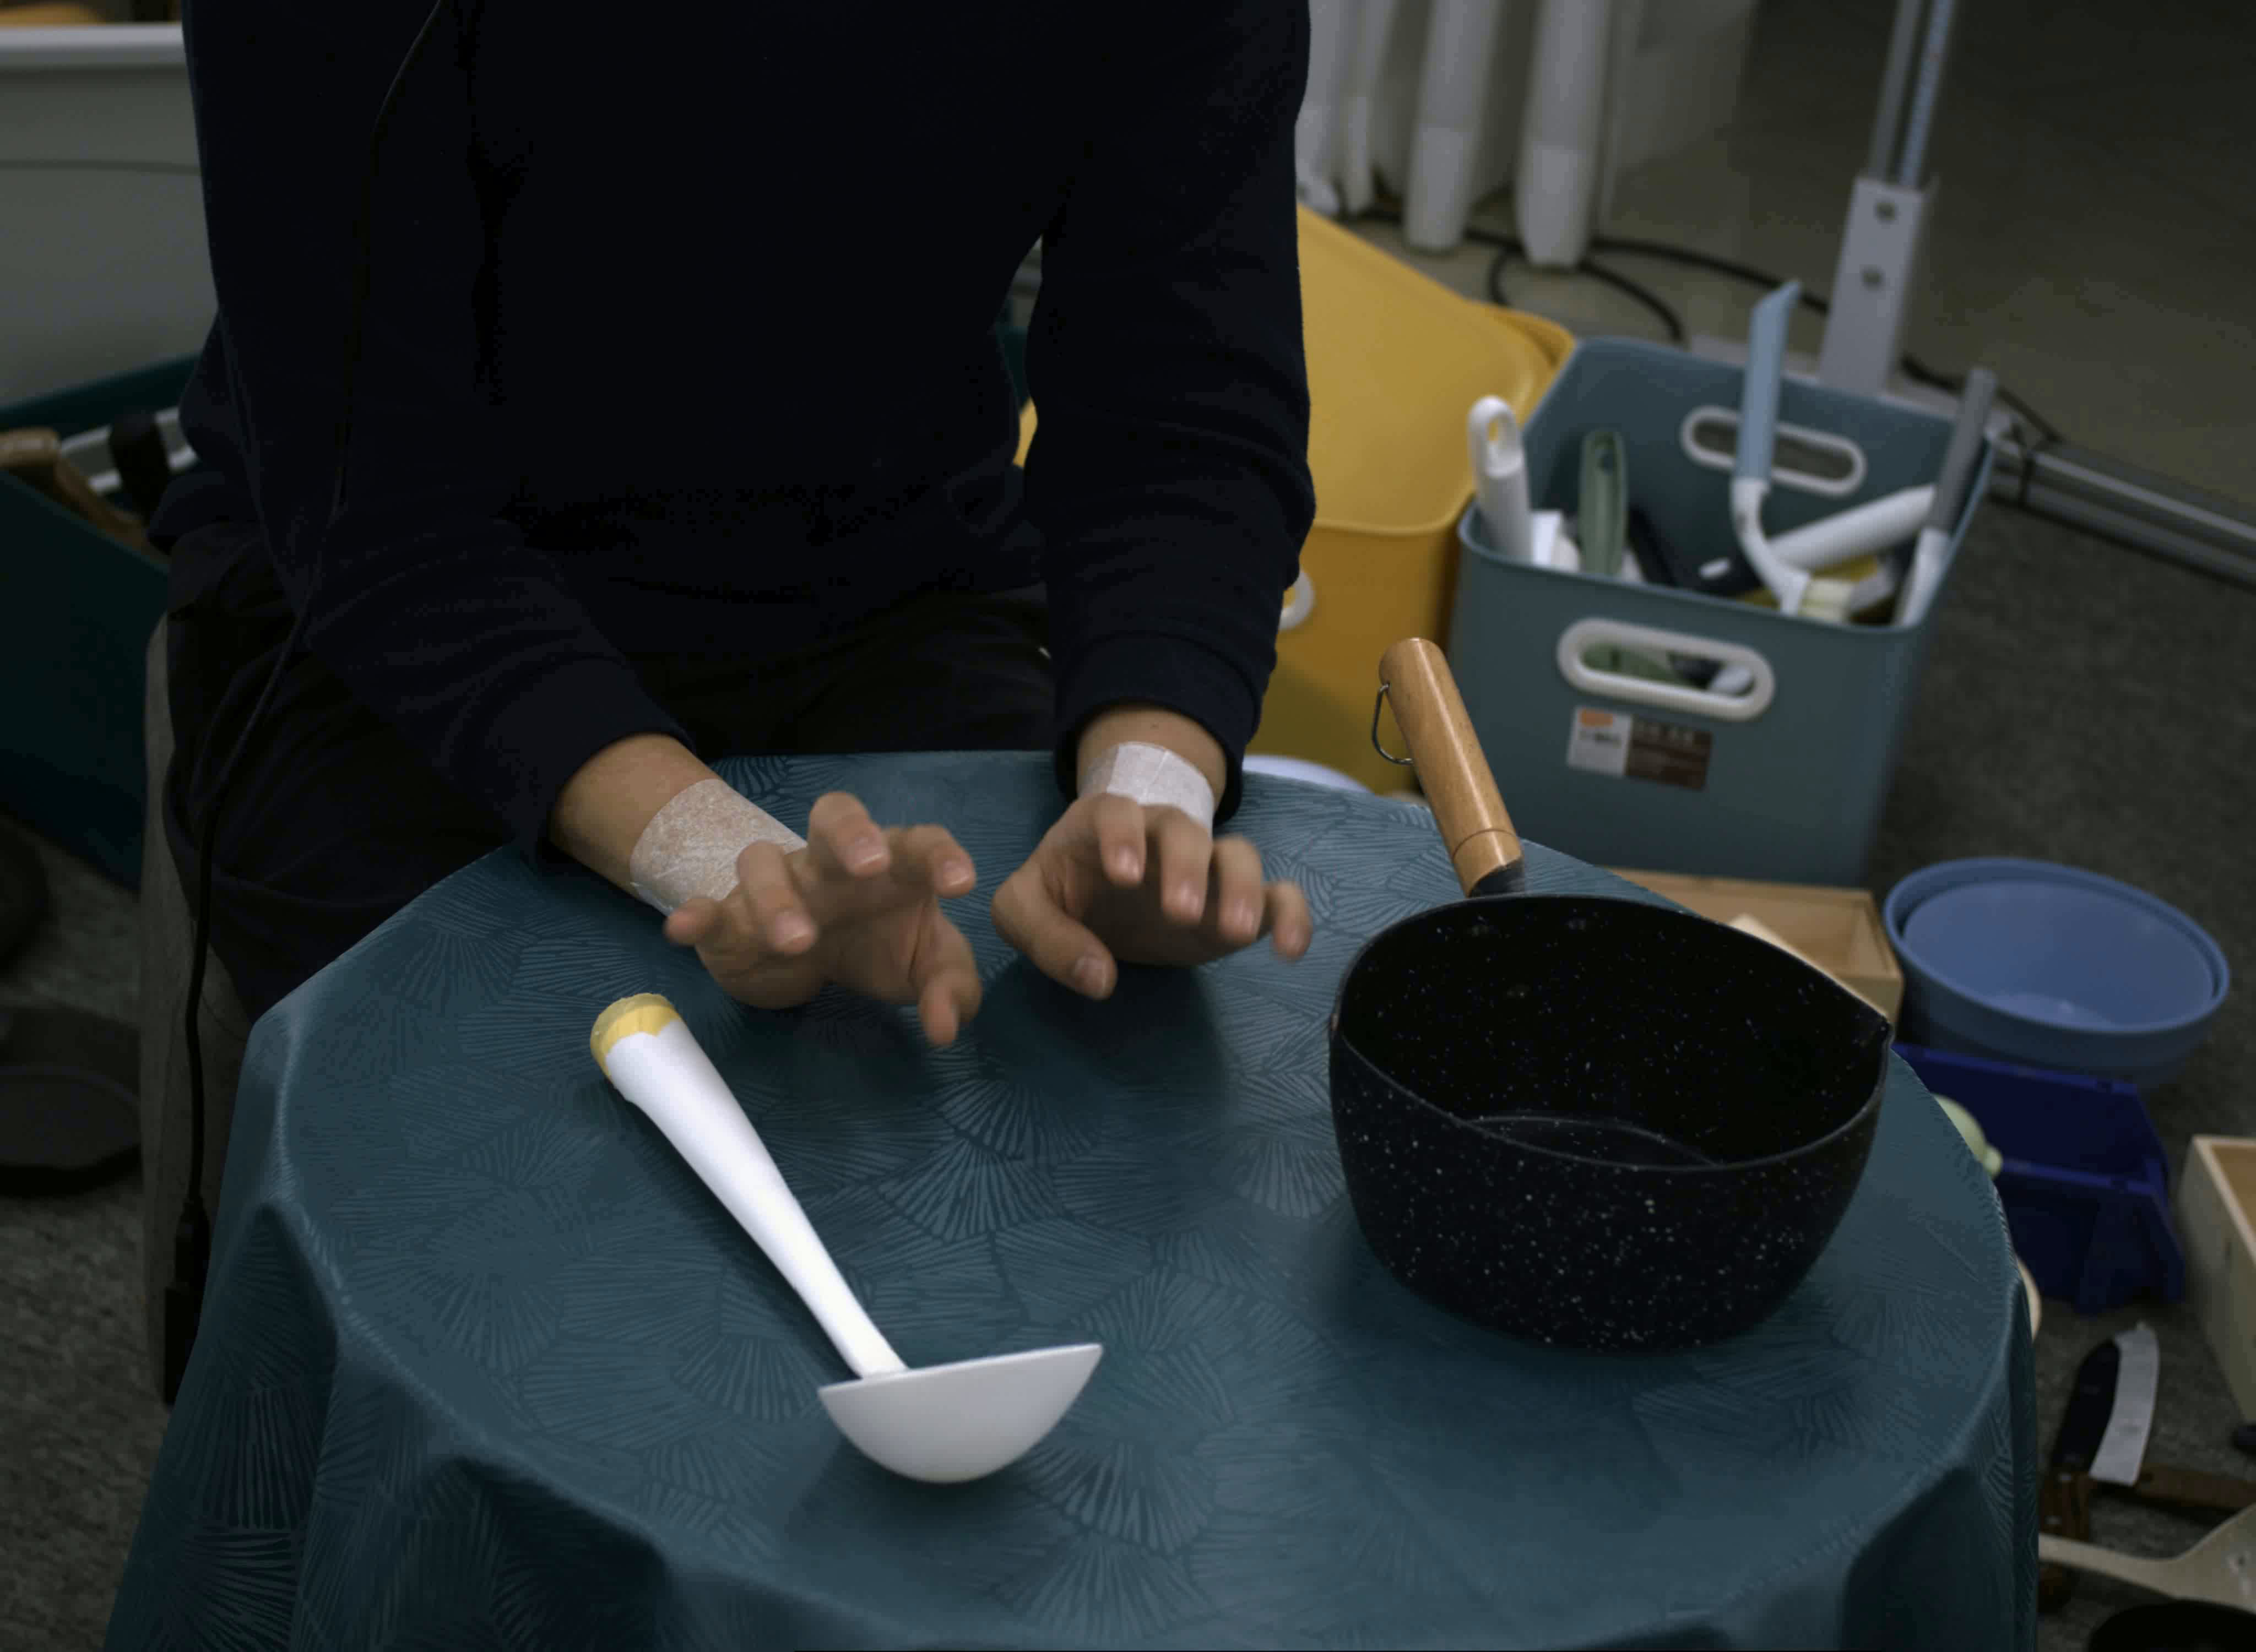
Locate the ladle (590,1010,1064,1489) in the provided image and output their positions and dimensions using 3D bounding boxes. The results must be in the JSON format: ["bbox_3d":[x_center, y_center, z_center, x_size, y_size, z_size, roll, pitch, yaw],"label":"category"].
[{"bbox_3d":[-0.110,0.124,1.708,0.089,0.069,0.295,-13,31,-21],"label":"ladle"}]

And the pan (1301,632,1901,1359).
[{"bbox_3d":[0.138,0.056,1.848,0.206,0.108,0.346,-3,29,-15],"label":"pan"}]
